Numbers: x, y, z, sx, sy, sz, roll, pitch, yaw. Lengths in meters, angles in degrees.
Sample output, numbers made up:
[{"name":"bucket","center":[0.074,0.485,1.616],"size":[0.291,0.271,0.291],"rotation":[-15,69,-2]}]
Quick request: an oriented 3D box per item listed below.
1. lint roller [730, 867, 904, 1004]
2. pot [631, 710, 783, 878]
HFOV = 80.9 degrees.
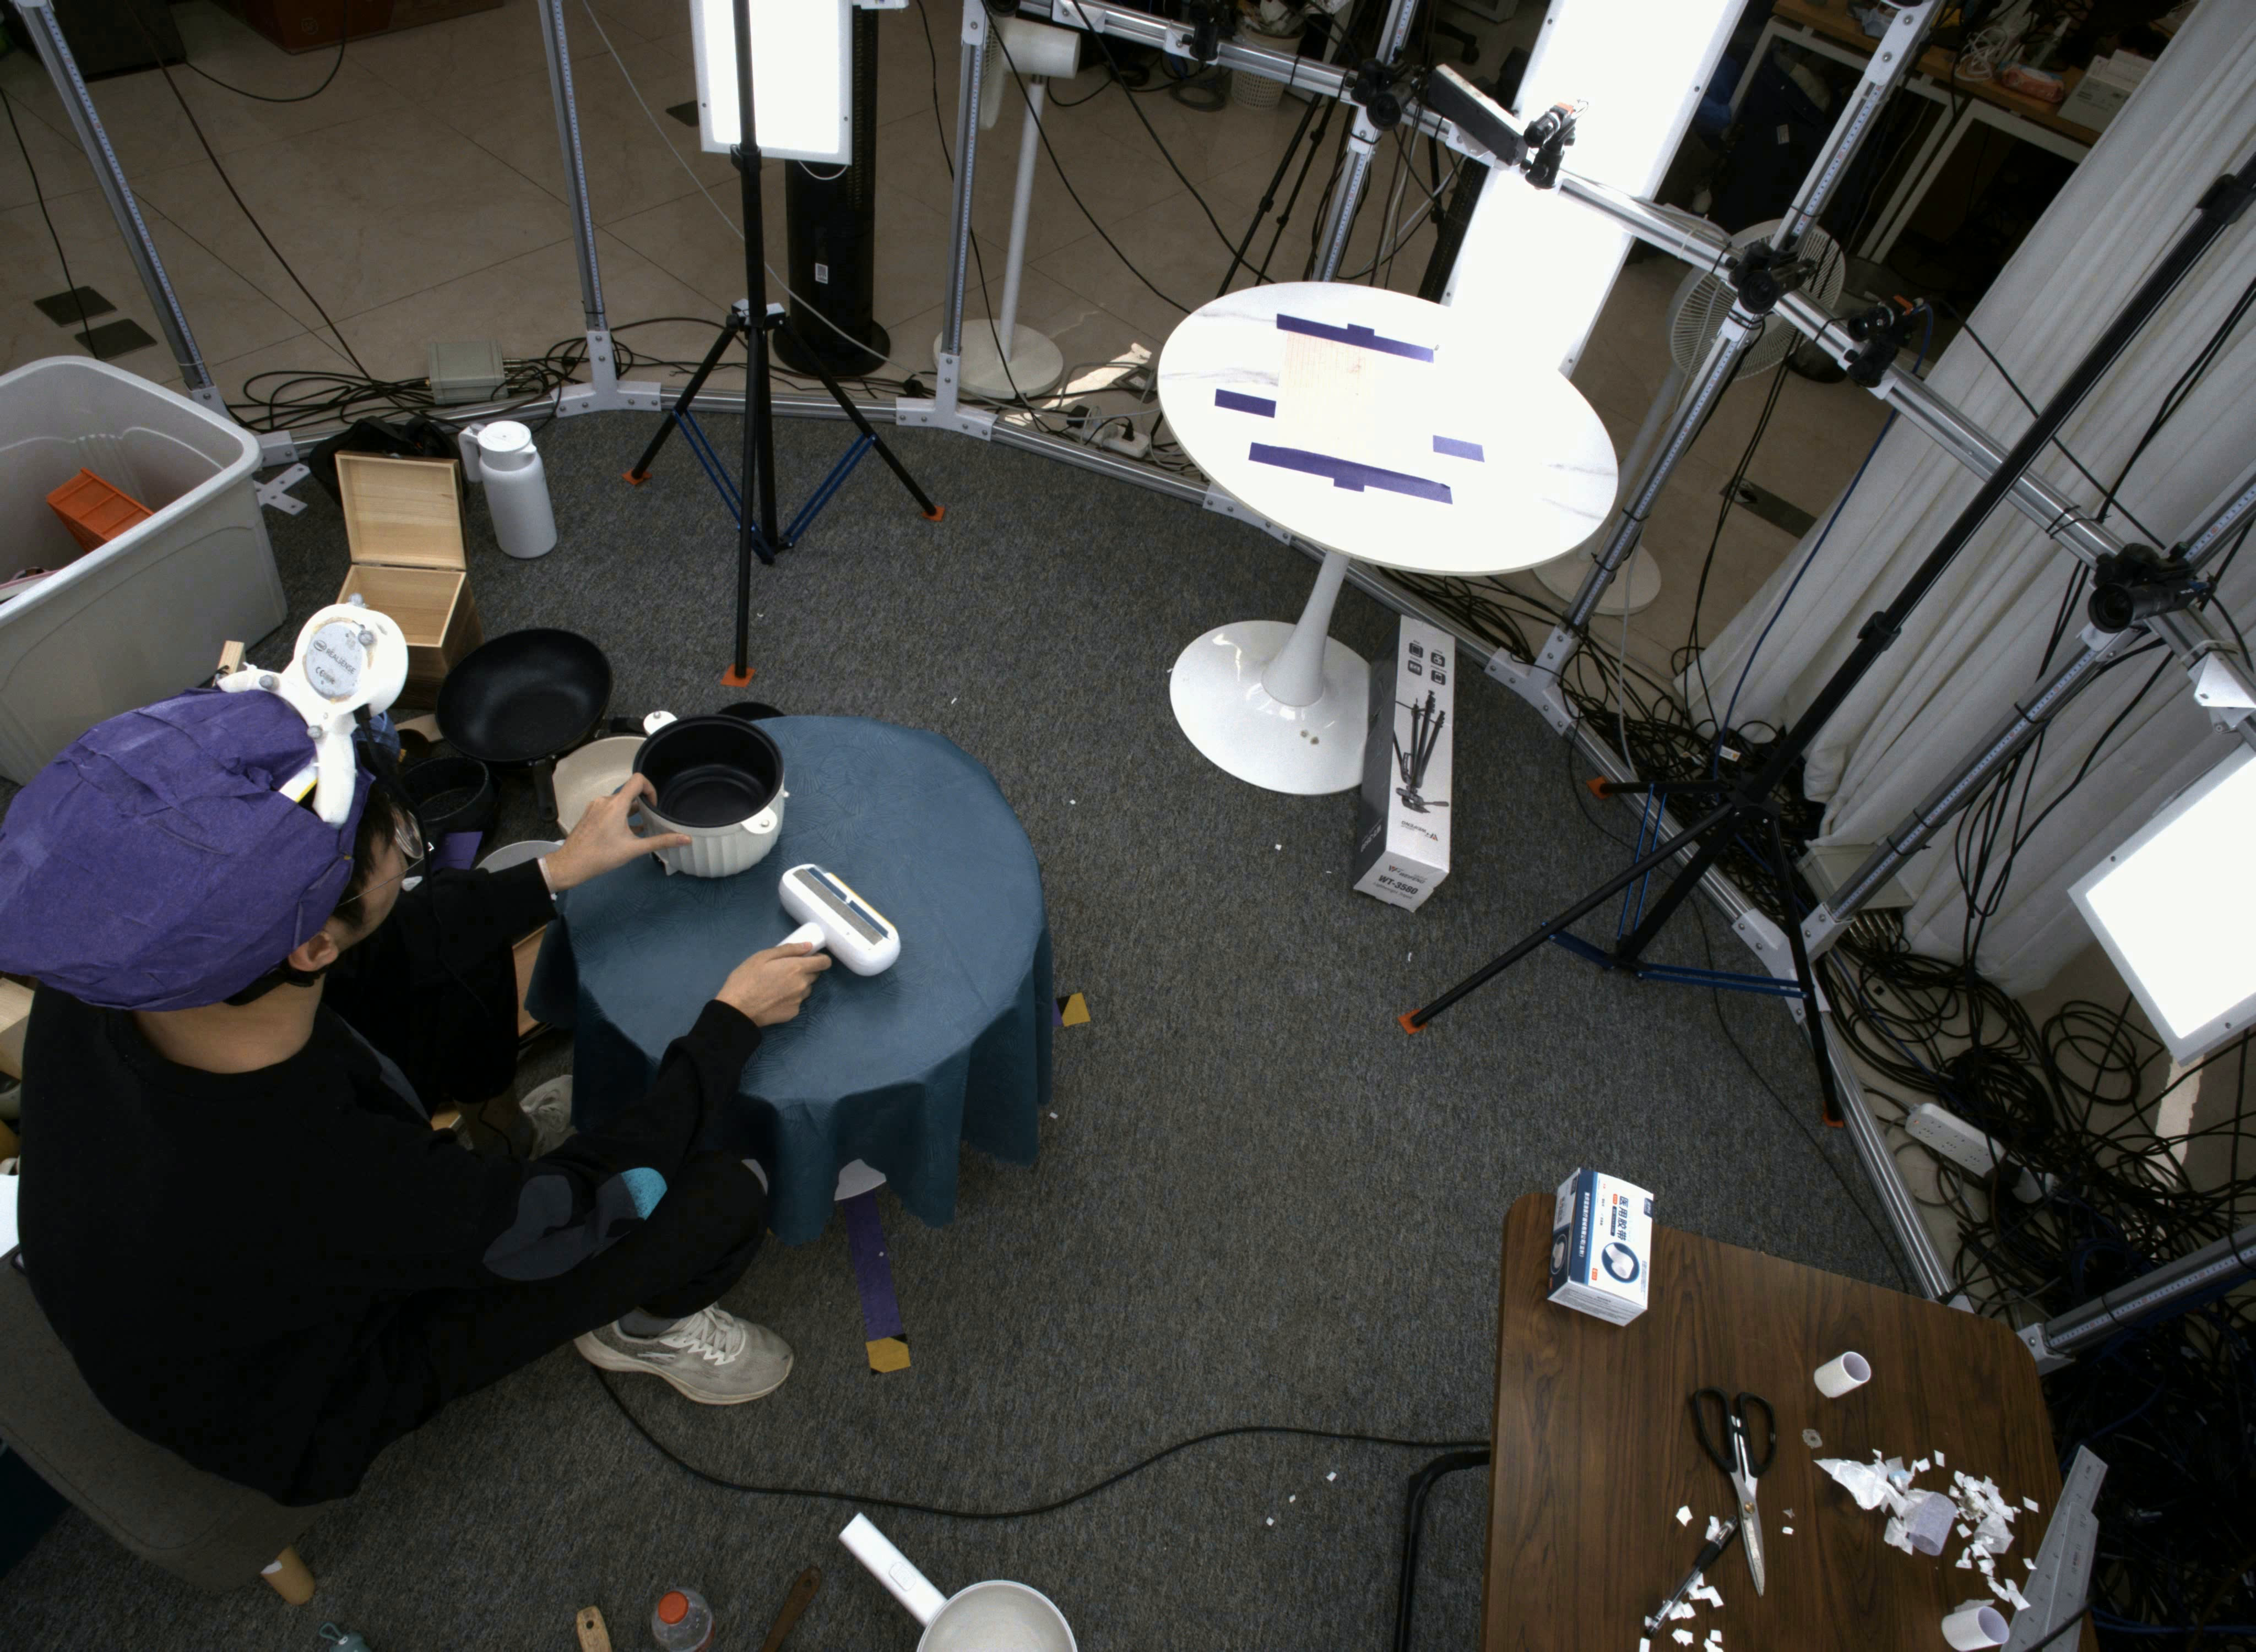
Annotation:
[{"name":"lint roller","center":[-0.397,0.146,1.579],"size":[0.193,0.076,0.187],"rotation":[-29,59,-34]},{"name":"pot","center":[-0.525,-0.037,1.639],"size":[0.236,0.145,0.190],"rotation":[41,57,15]}]
